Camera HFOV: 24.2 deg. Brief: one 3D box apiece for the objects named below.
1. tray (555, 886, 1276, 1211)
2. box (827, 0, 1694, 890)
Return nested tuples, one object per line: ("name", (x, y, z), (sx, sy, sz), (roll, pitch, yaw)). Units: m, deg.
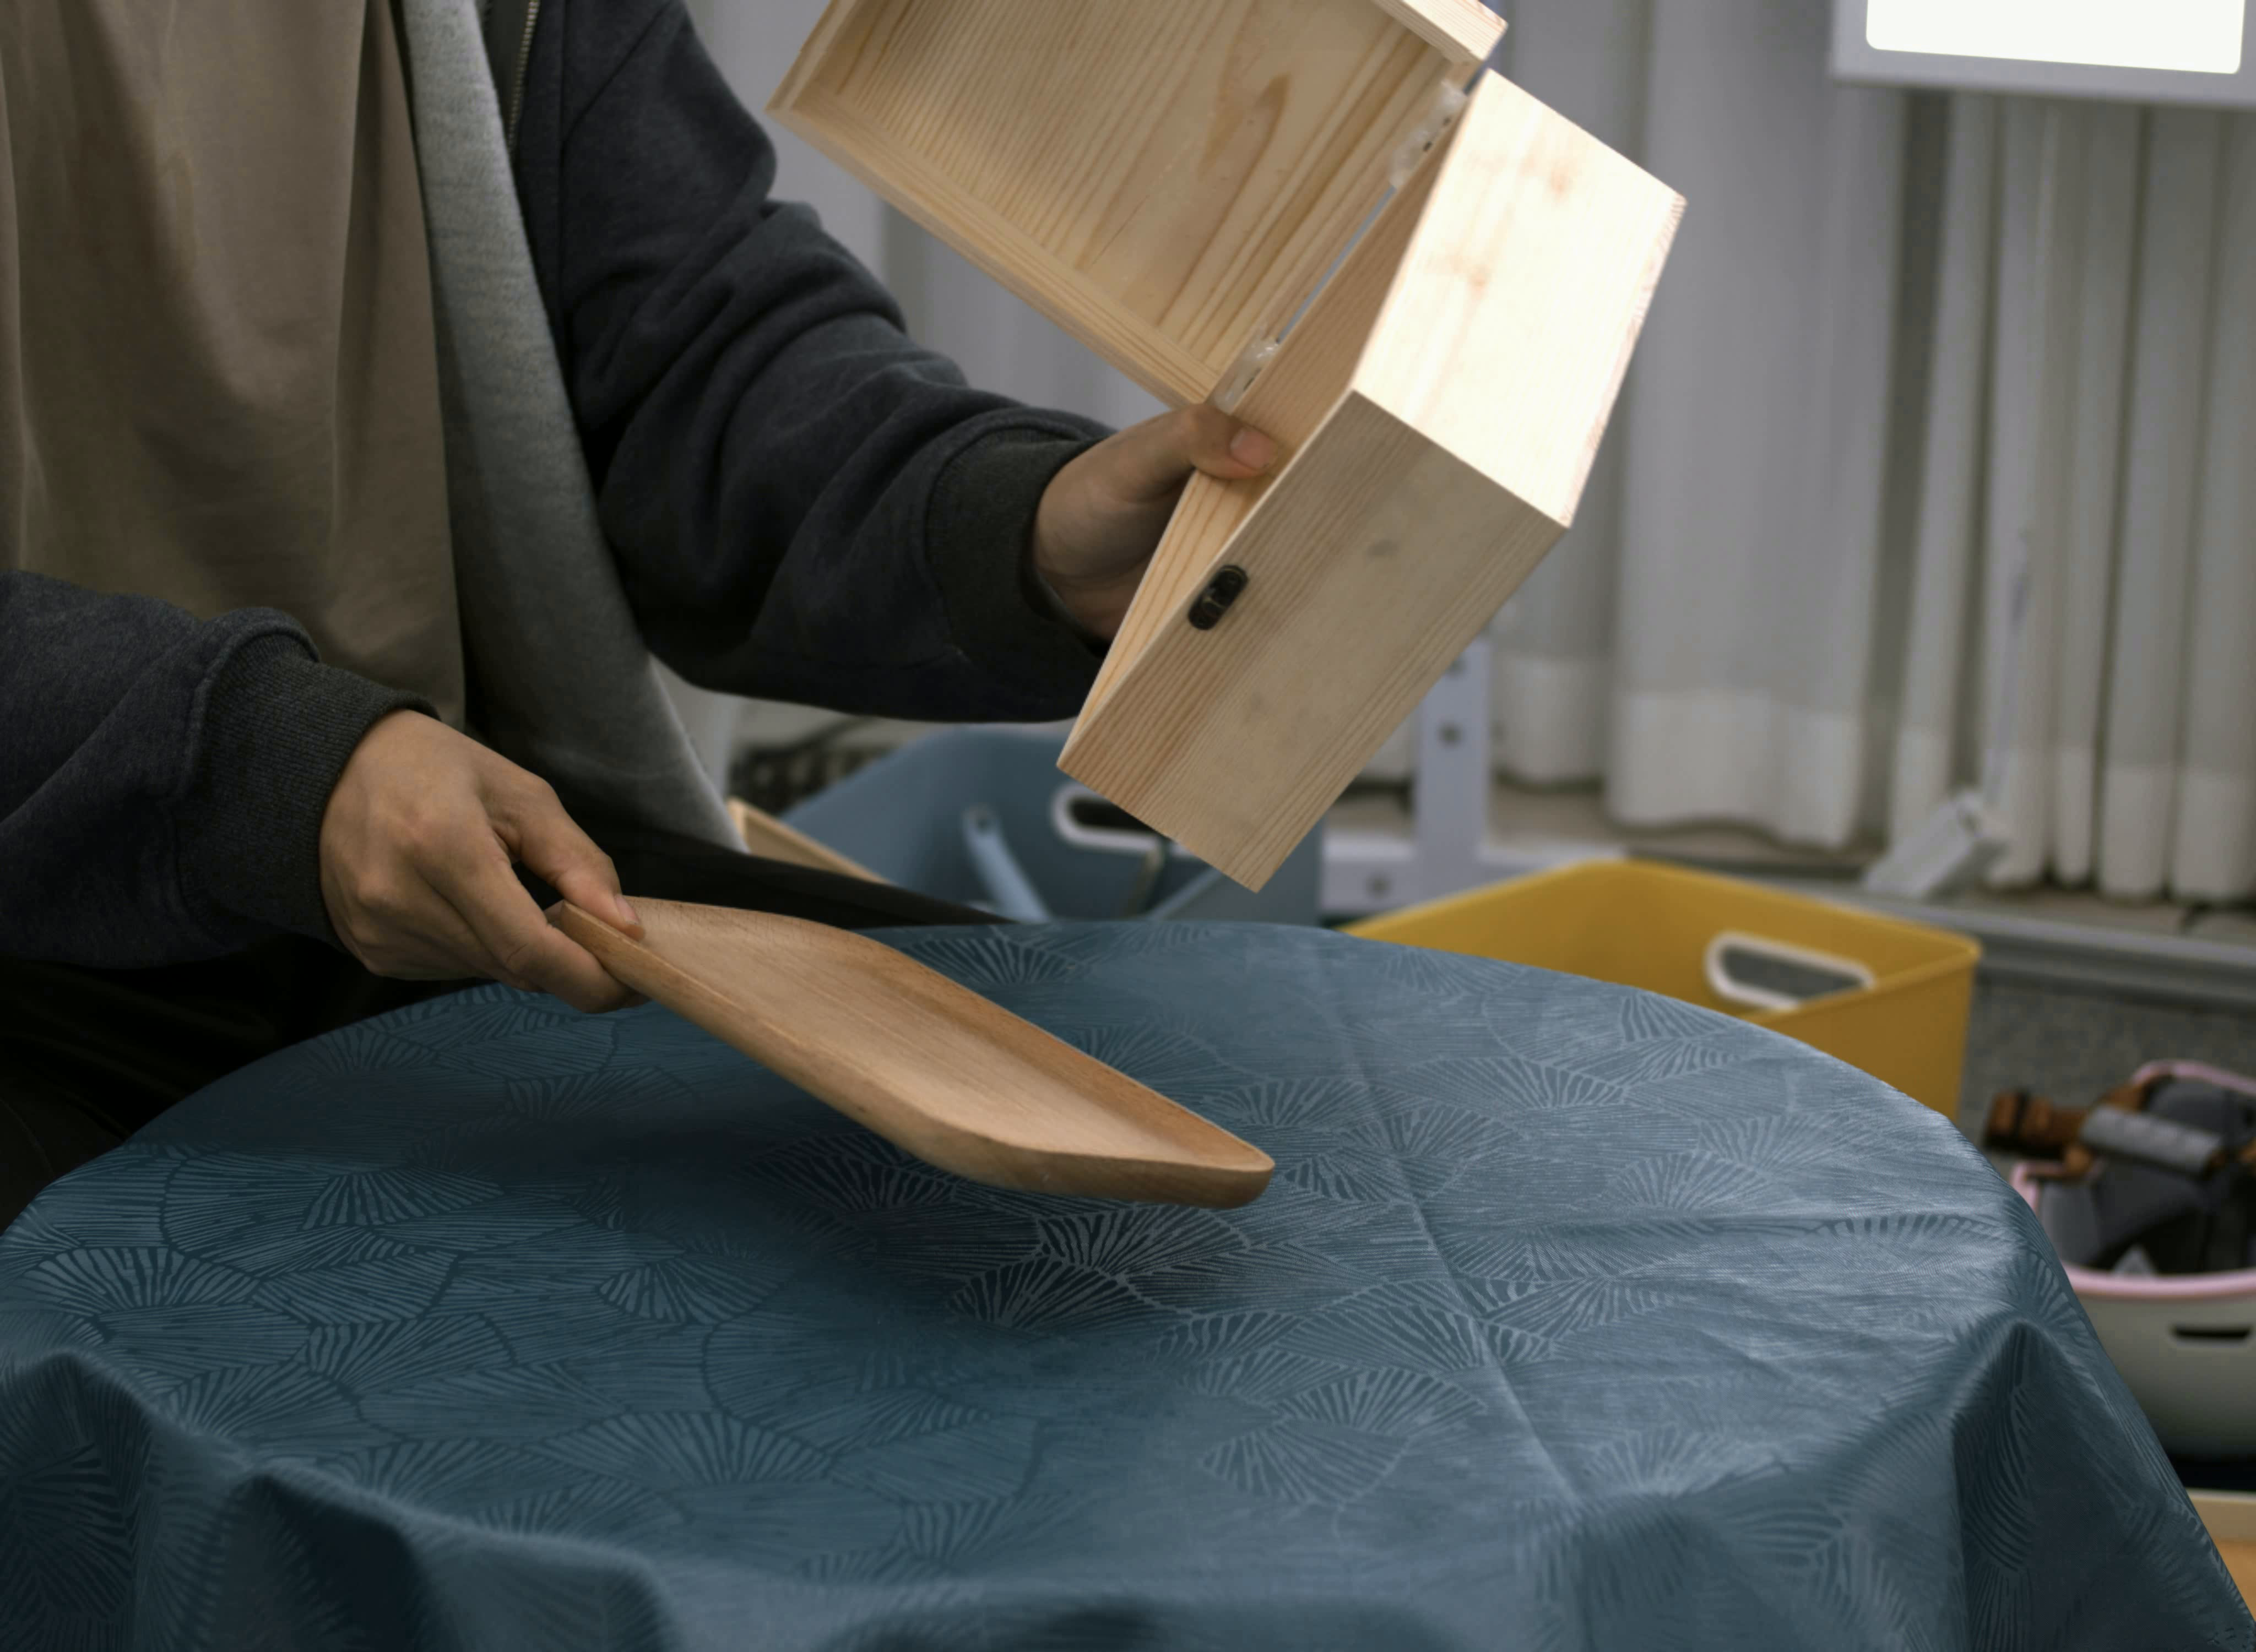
("tray", (-0.069, 0.066, 1.589), (0.132, 0.023, 0.247), (12, 9, -39))
("box", (0.015, -0.172, 1.624), (0.253, 0.182, 0.264), (32, 40, -6))
